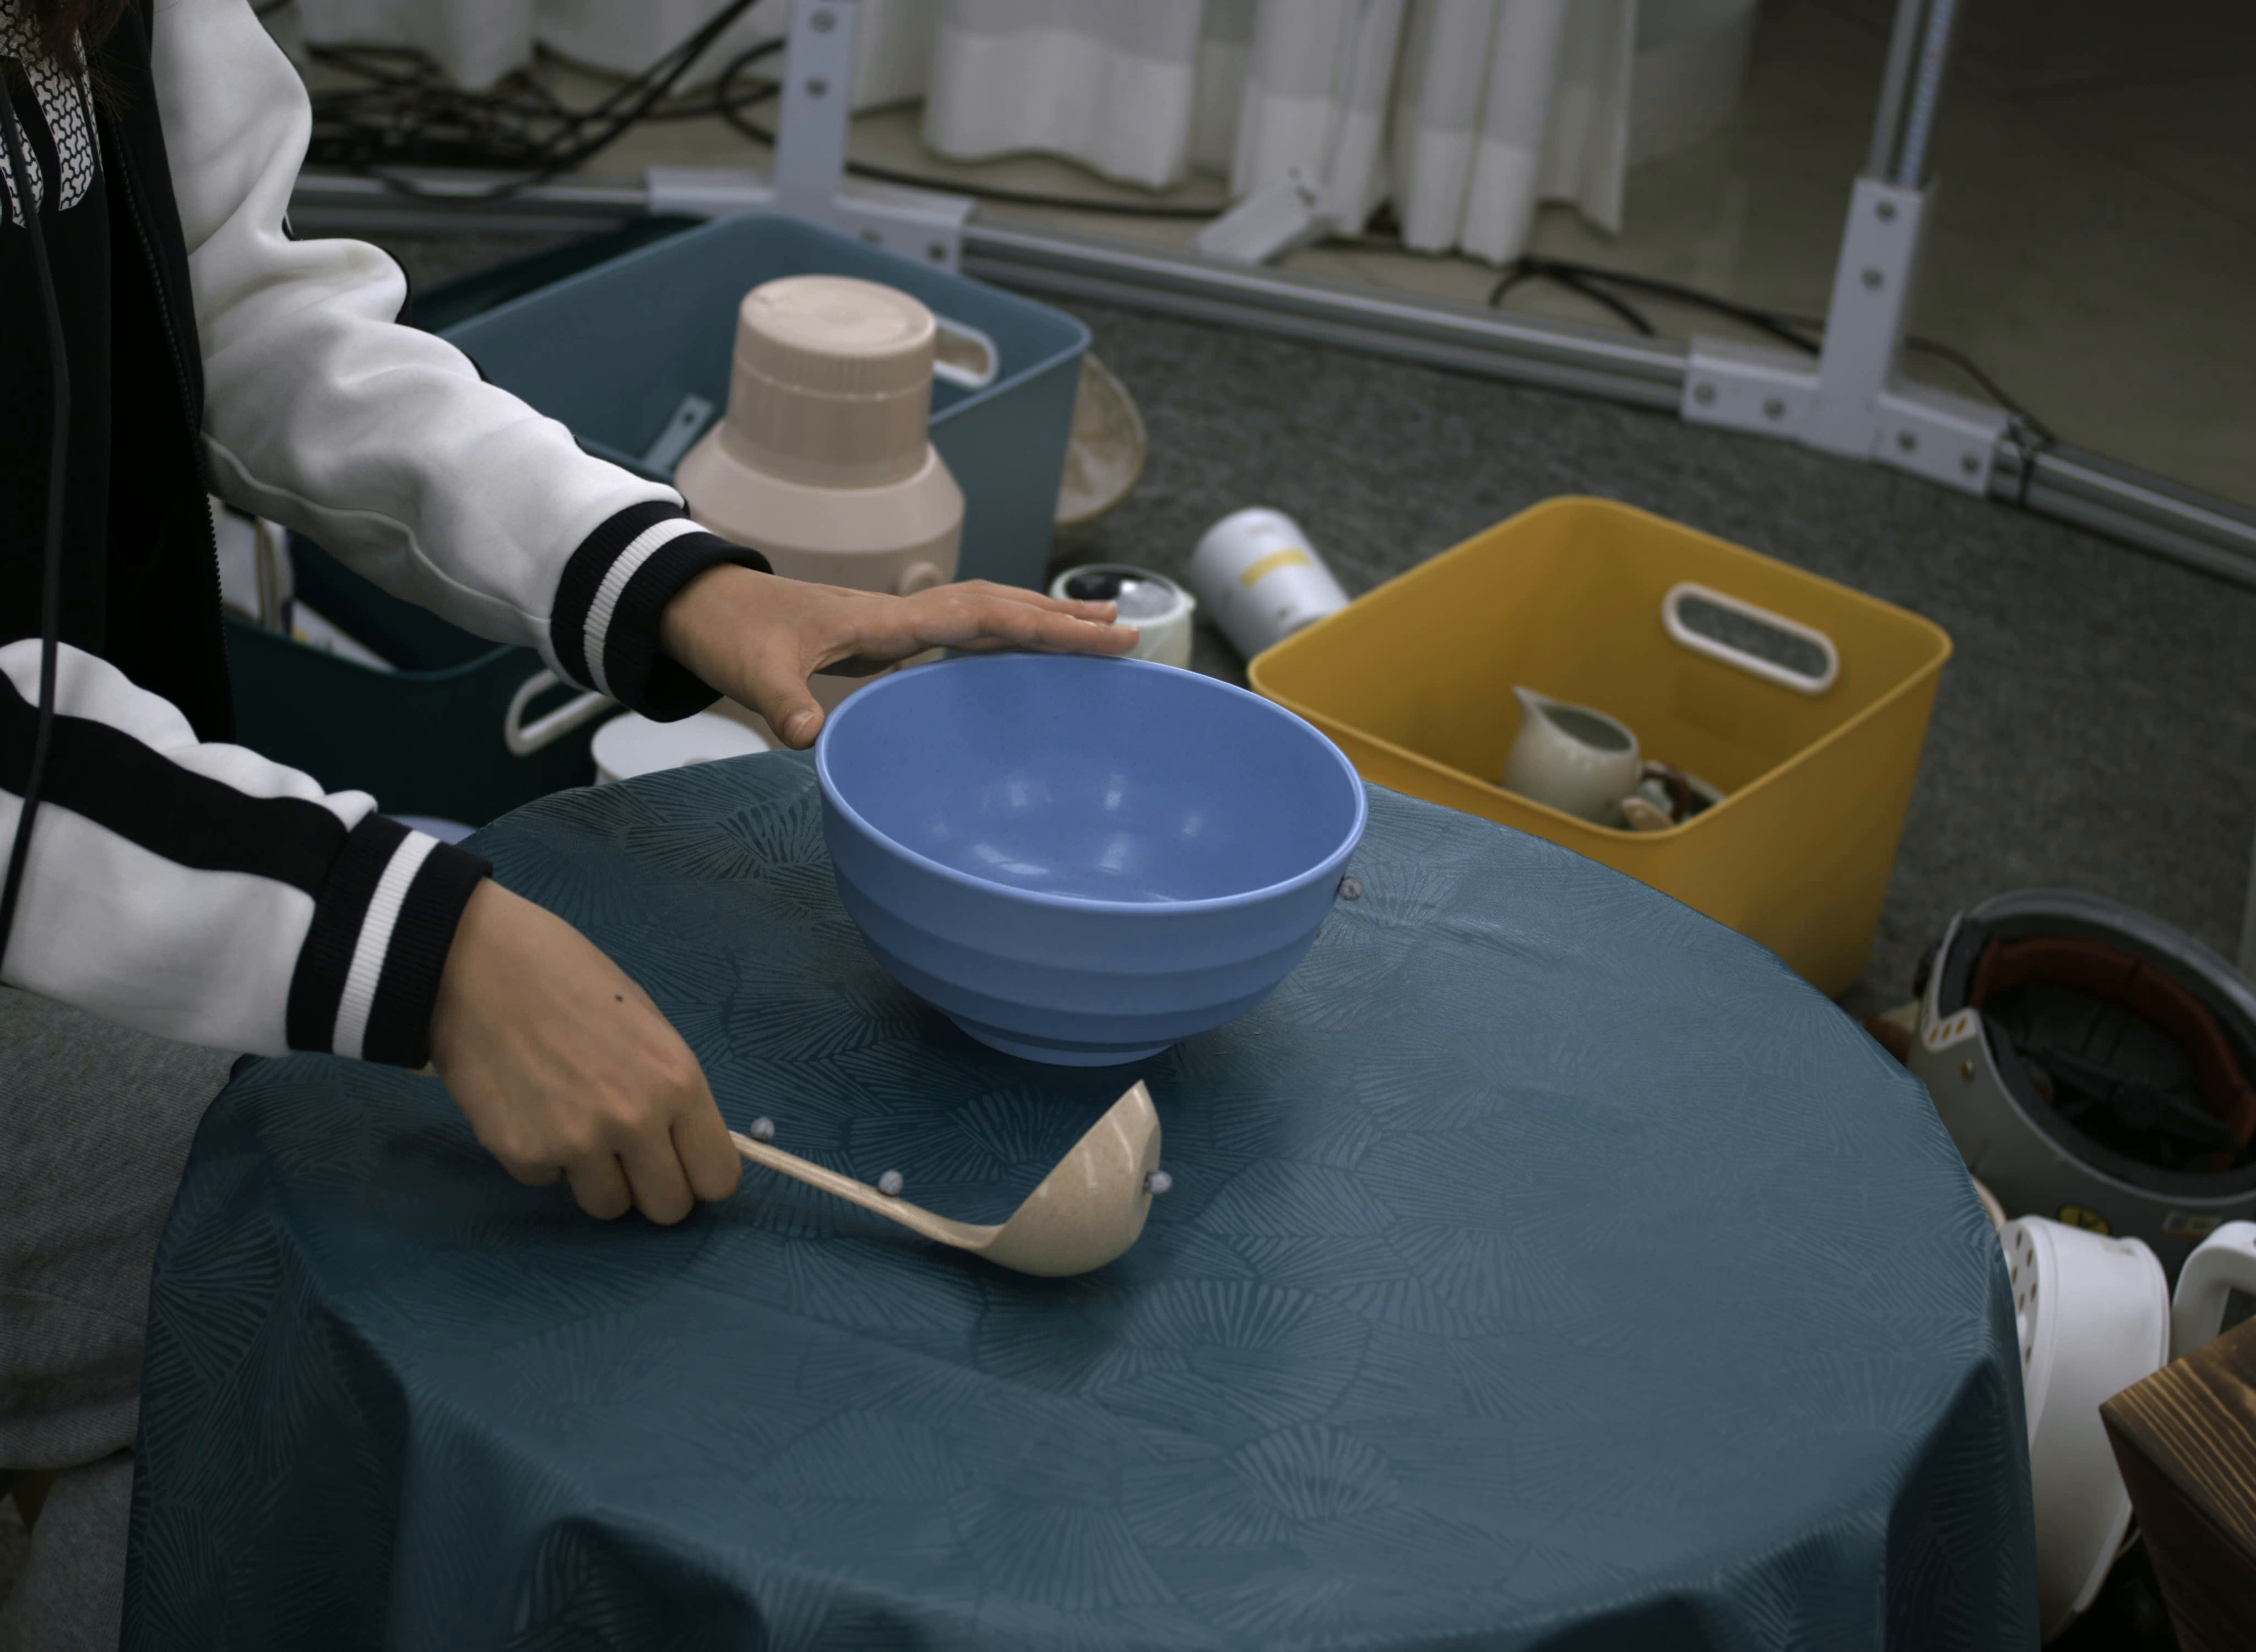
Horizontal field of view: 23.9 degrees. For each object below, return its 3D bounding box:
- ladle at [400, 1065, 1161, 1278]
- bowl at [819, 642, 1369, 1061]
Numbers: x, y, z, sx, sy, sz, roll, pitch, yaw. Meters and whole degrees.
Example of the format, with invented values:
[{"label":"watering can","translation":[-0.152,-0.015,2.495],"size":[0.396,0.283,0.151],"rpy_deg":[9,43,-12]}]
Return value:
[{"label":"ladle","translation":[-0.113,0.086,1.754],"size":[0.254,0.073,0.072],"rpy_deg":[16,11,8]},{"label":"bowl","translation":[-0.018,0.020,1.893],"size":[0.196,0.095,0.197],"rpy_deg":[8,27,-4]}]
